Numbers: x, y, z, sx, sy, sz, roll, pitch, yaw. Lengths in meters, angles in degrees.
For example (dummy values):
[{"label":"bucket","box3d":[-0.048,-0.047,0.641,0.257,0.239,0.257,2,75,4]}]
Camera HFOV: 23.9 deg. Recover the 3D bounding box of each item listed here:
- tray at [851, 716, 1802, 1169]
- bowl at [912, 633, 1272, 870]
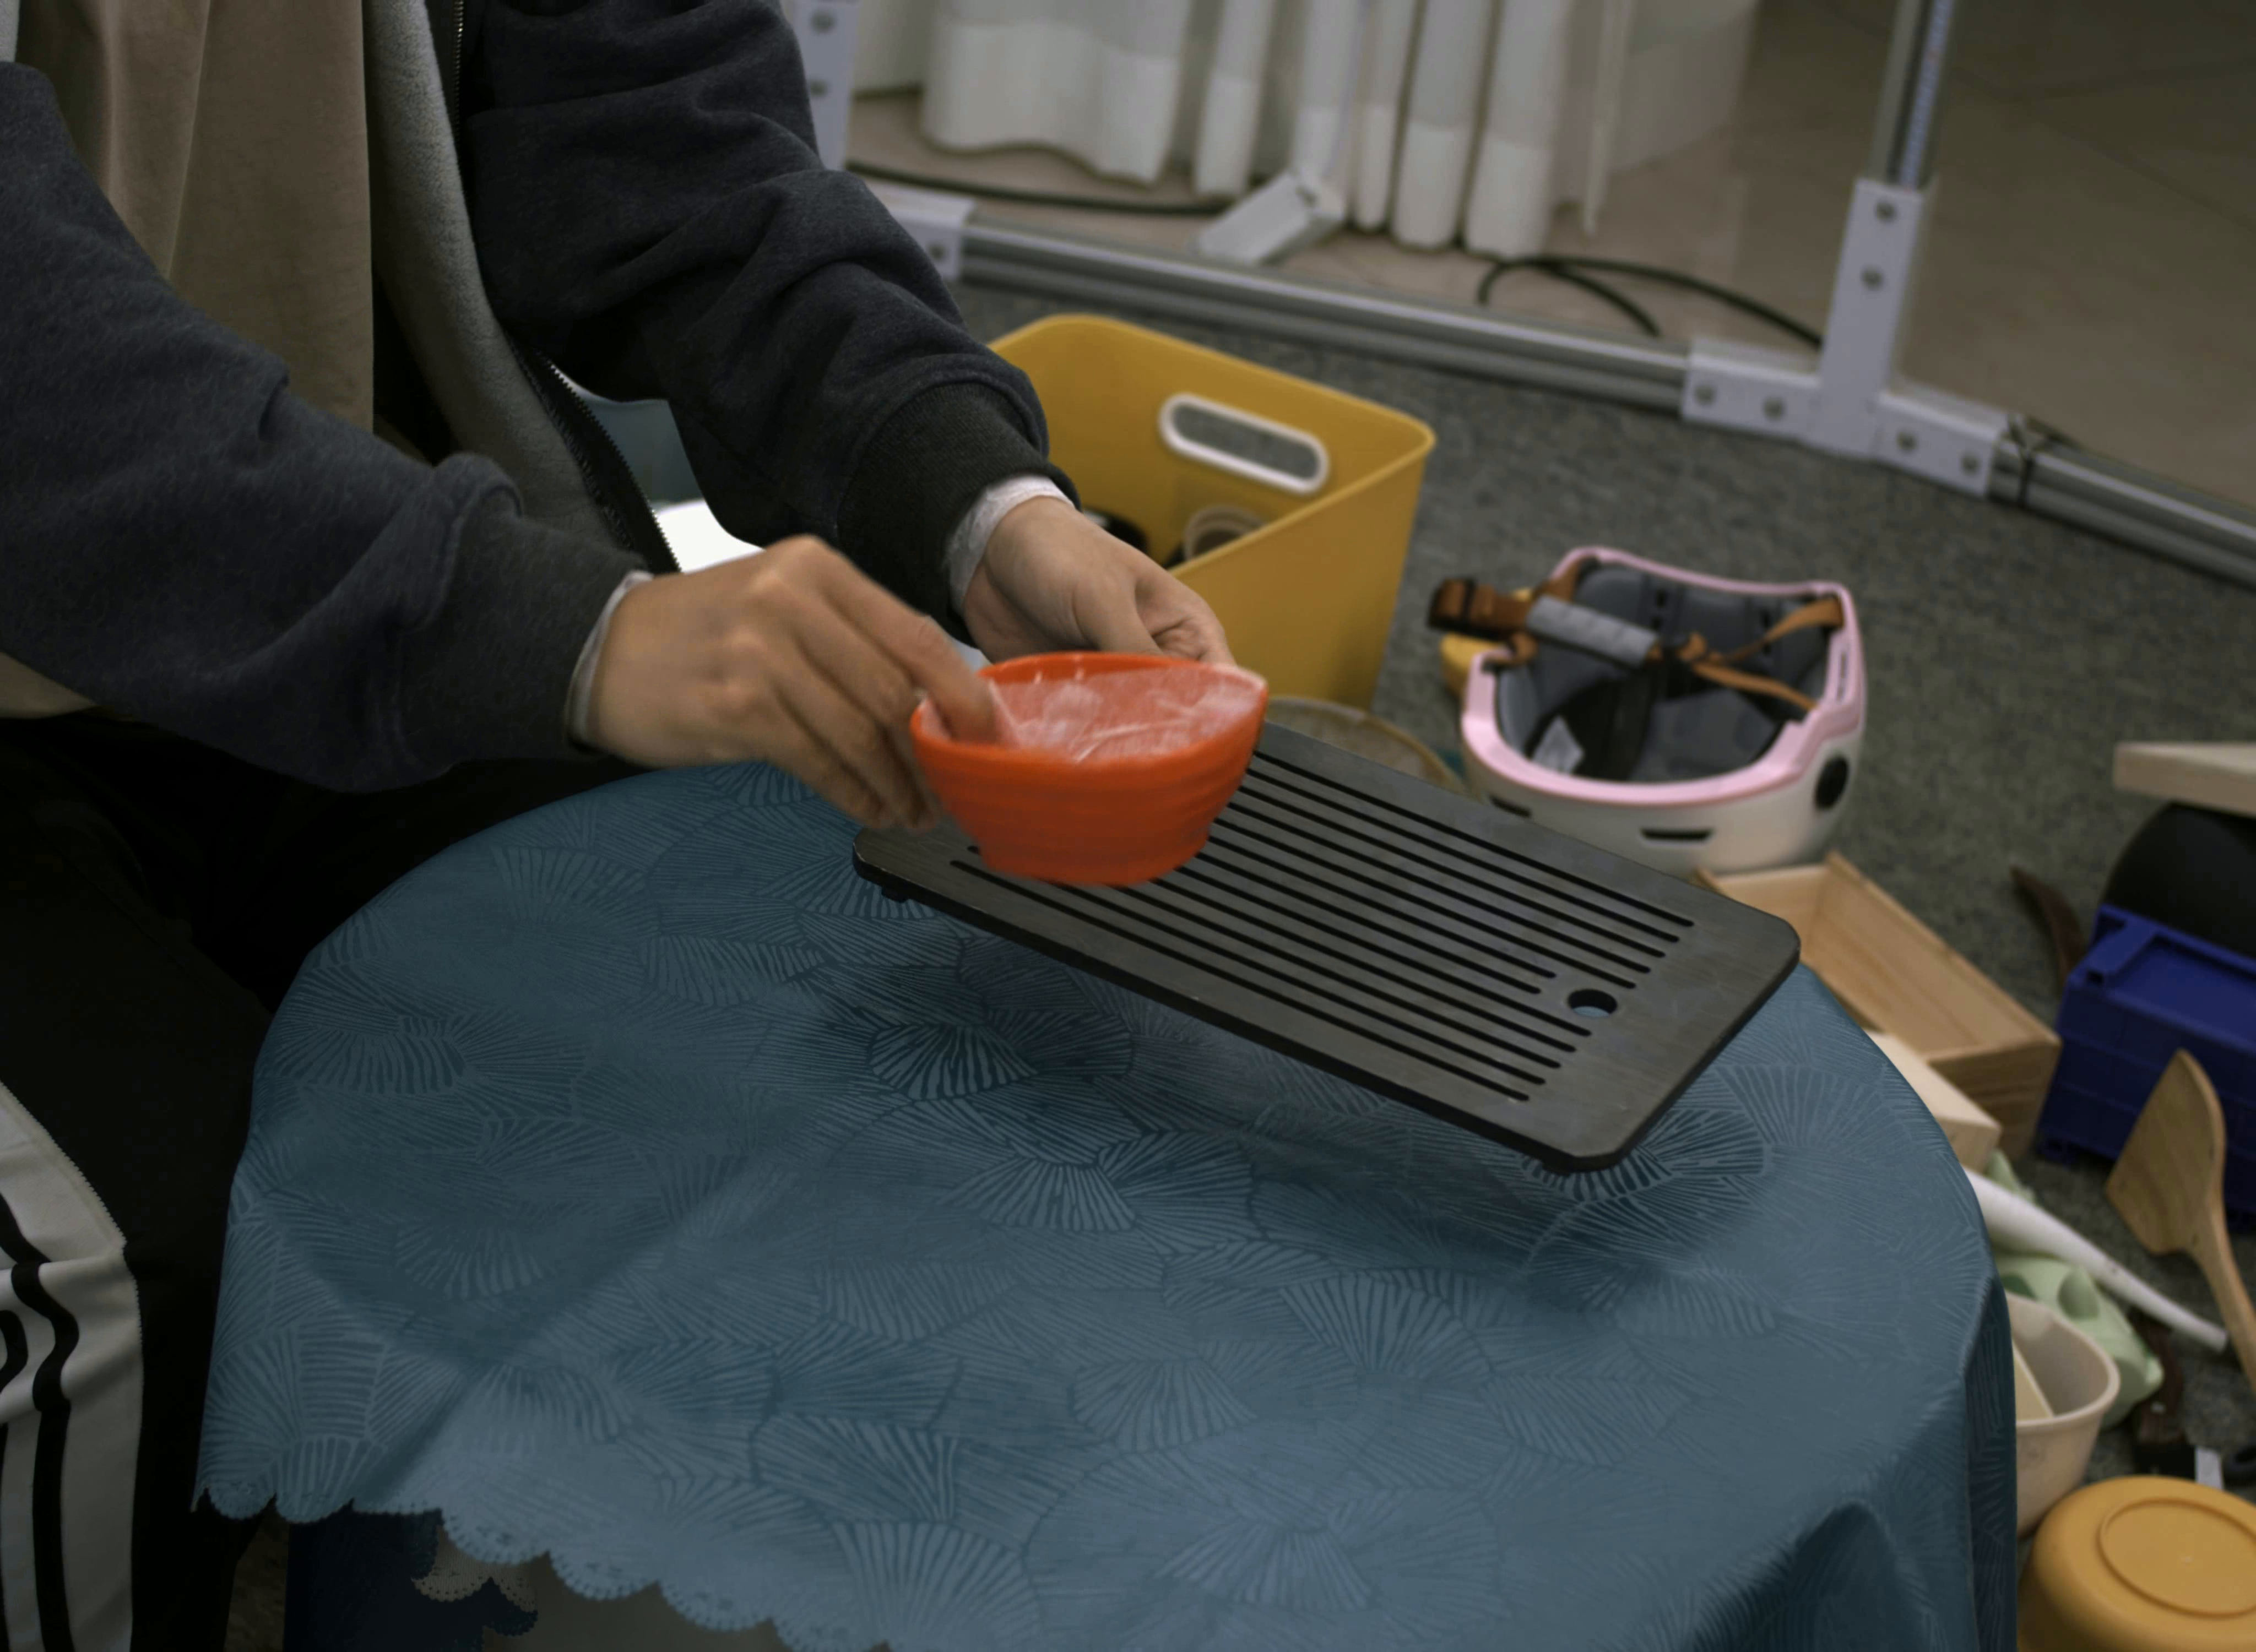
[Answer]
[{"label":"tray","box3d":[0.069,0.028,1.881,0.307,0.018,0.170,22,37,24]},{"label":"bowl","box3d":[-0.011,-0.022,1.716,0.118,0.051,0.119,-1,20,0]}]
